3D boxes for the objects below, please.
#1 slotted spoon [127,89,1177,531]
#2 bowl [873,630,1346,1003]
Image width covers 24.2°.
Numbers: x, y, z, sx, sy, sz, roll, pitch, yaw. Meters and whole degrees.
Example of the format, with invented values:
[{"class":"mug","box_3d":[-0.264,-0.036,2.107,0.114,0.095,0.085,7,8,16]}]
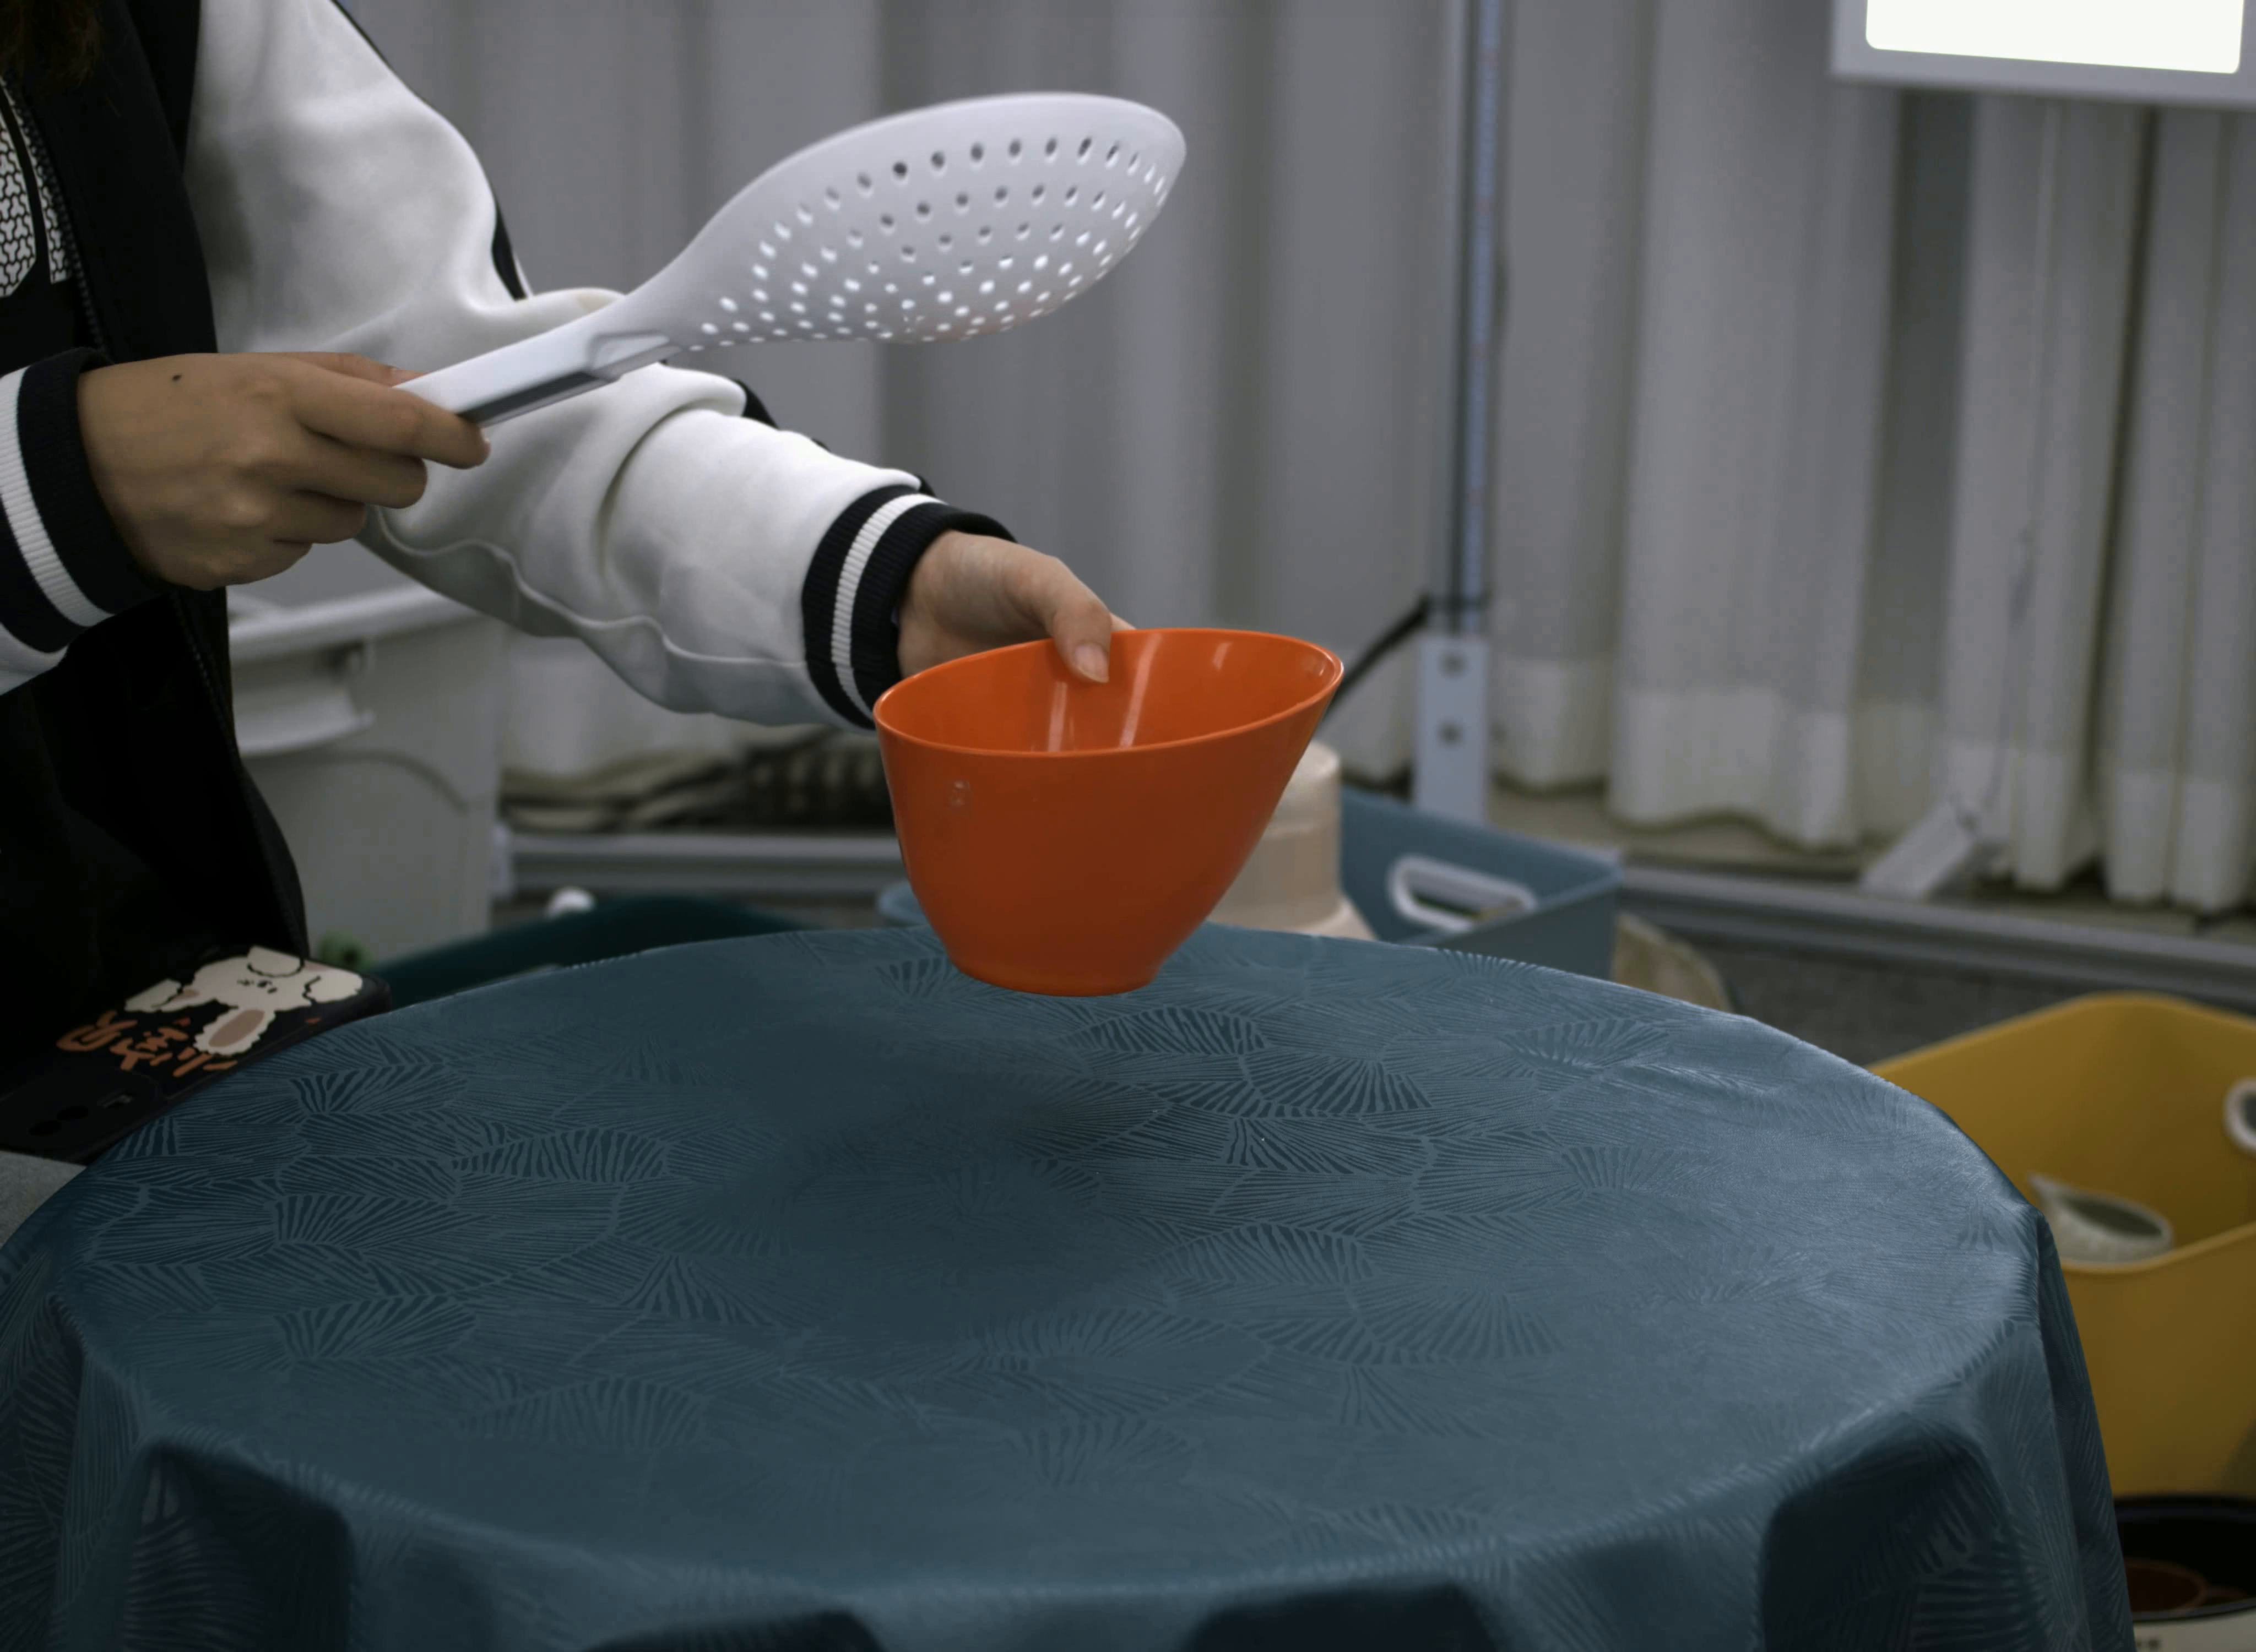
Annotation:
[{"class":"slotted spoon","box_3d":[-0.146,-0.145,1.535,0.347,0.045,0.137,-12,-11,23]},{"class":"bowl","box_3d":[-0.009,-0.003,1.661,0.147,0.105,0.147,4,17,-1]}]
